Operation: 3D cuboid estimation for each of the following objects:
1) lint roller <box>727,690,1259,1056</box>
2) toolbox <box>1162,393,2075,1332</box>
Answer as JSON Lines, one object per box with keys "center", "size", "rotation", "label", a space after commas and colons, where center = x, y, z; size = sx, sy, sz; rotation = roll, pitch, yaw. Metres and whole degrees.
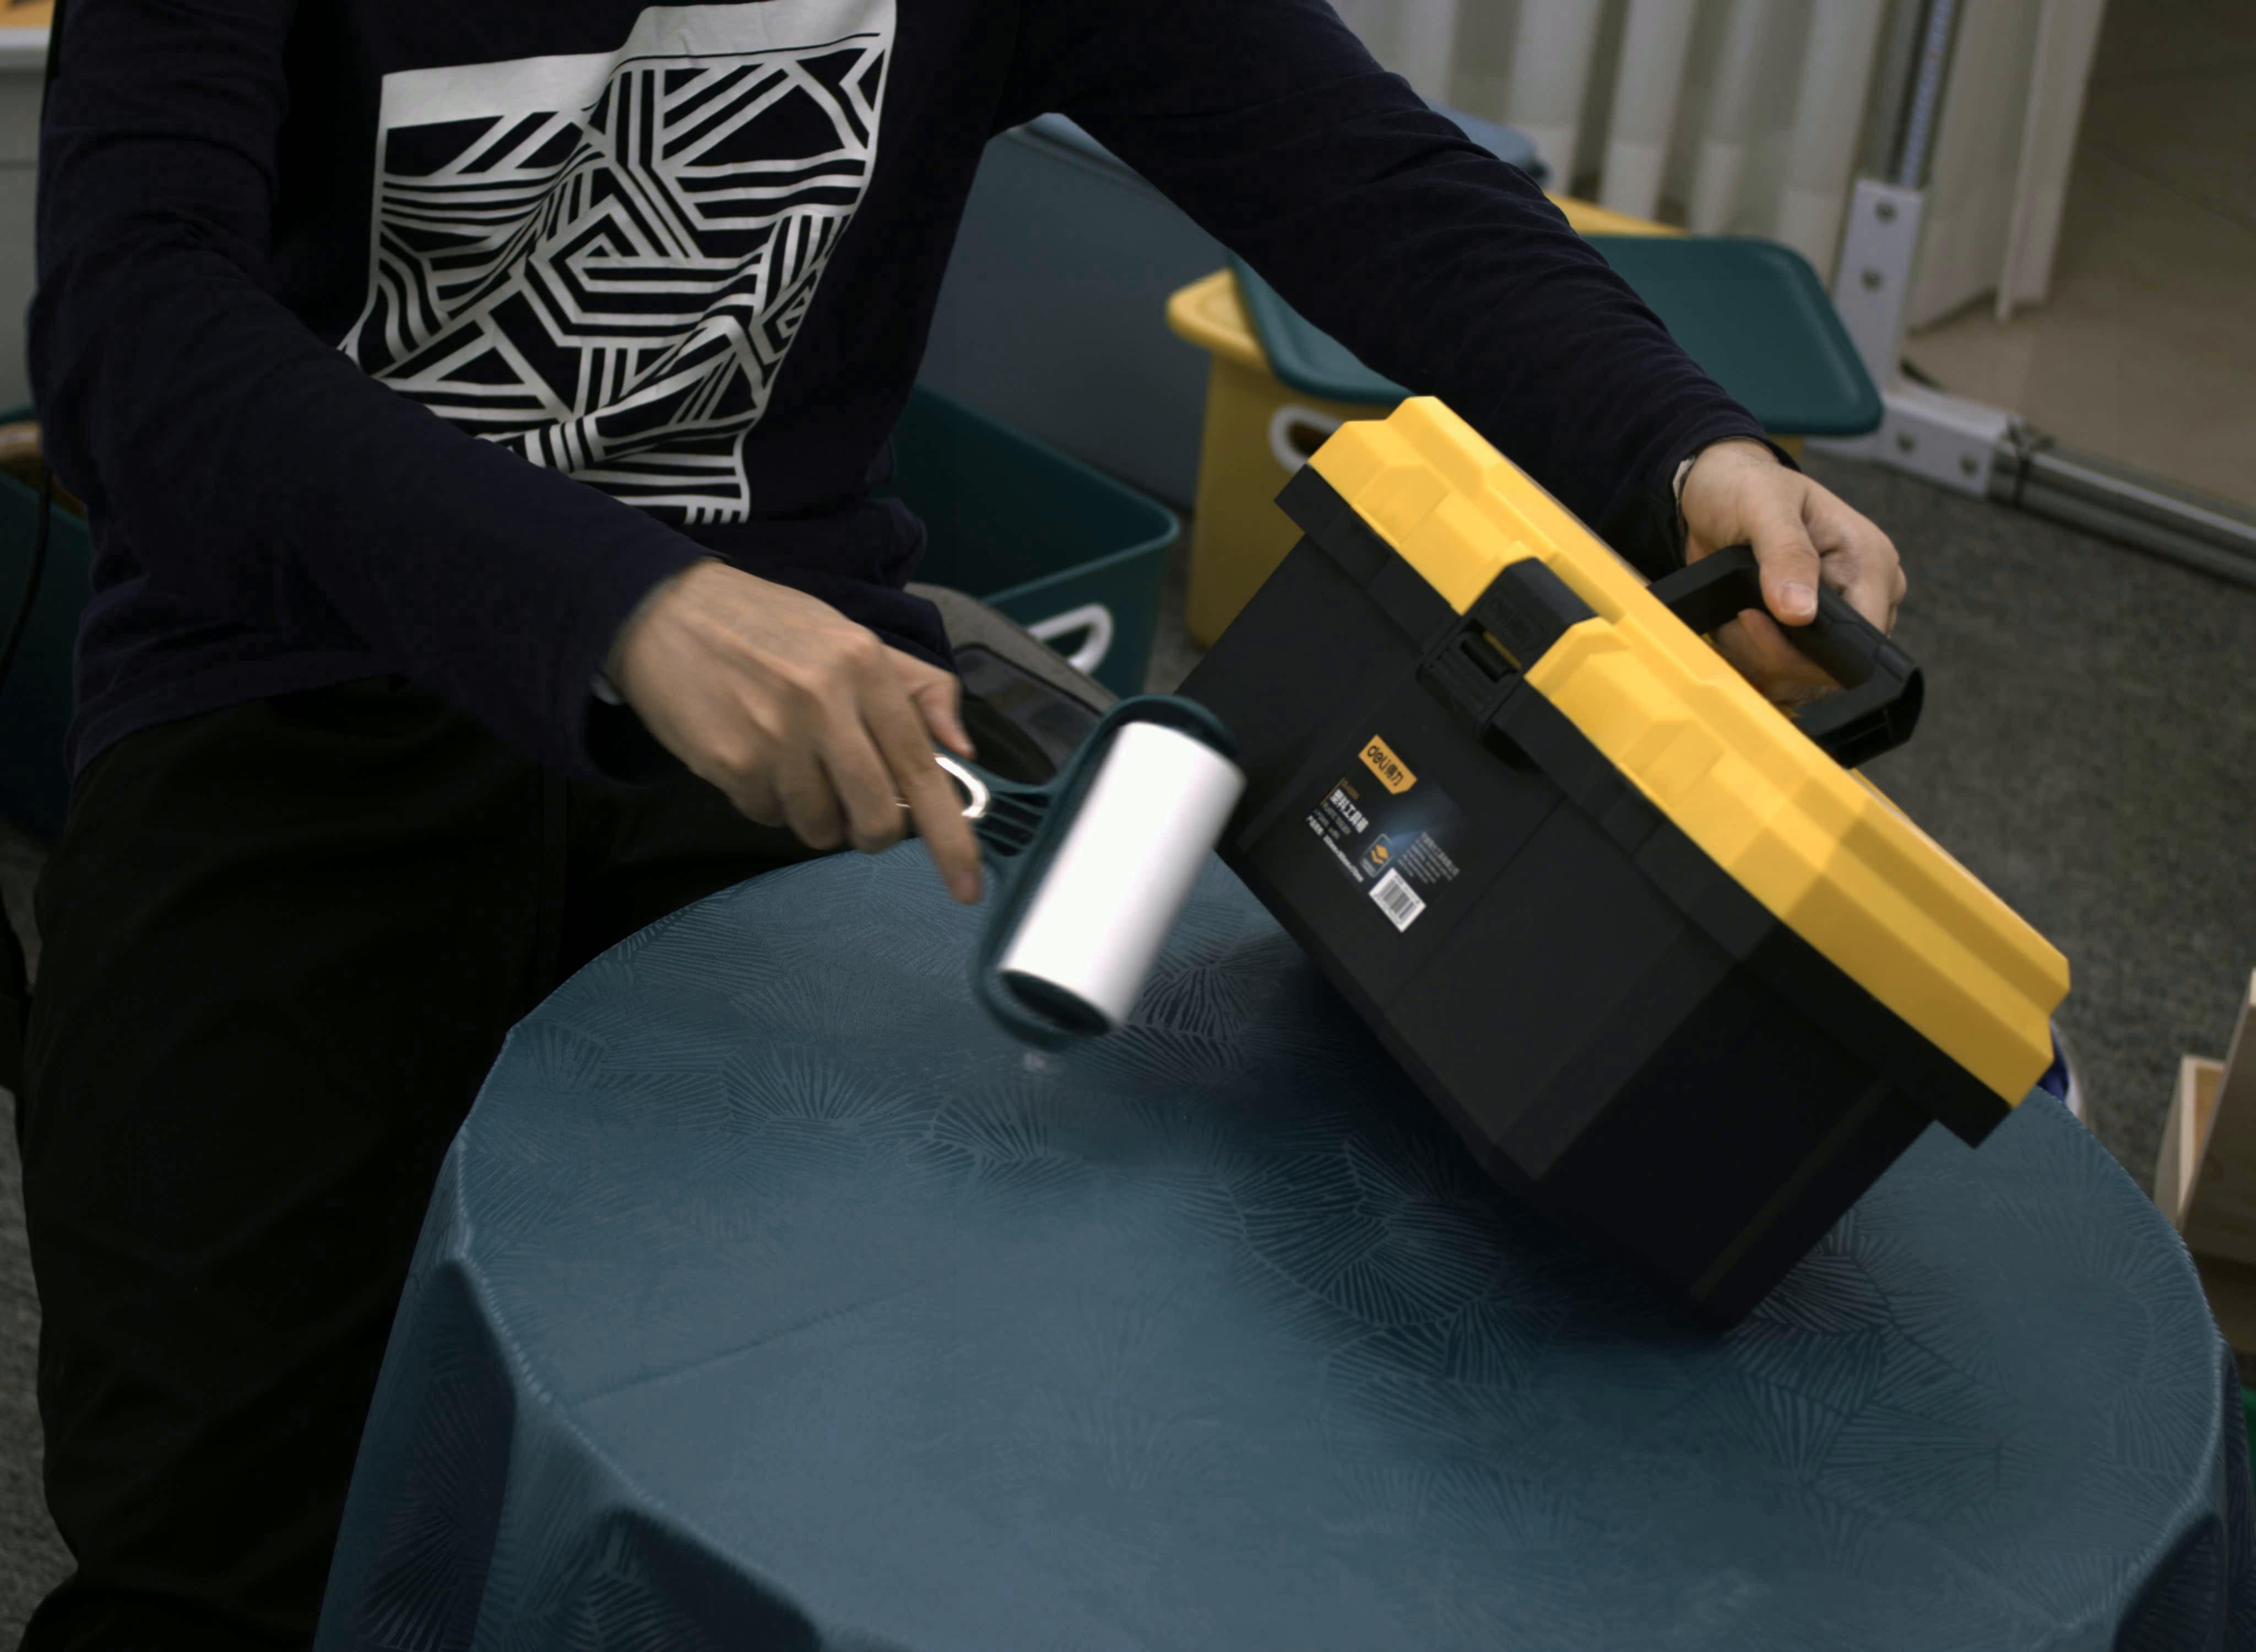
{"center": [-0.058, -0.010, 1.848], "size": [0.180, 0.135, 0.048], "rotation": [24, -14, 6], "label": "lint roller"}
{"center": [0.152, 0.007, 1.835], "size": [0.179, 0.173, 0.354], "rotation": [36, 8, -36], "label": "toolbox"}
